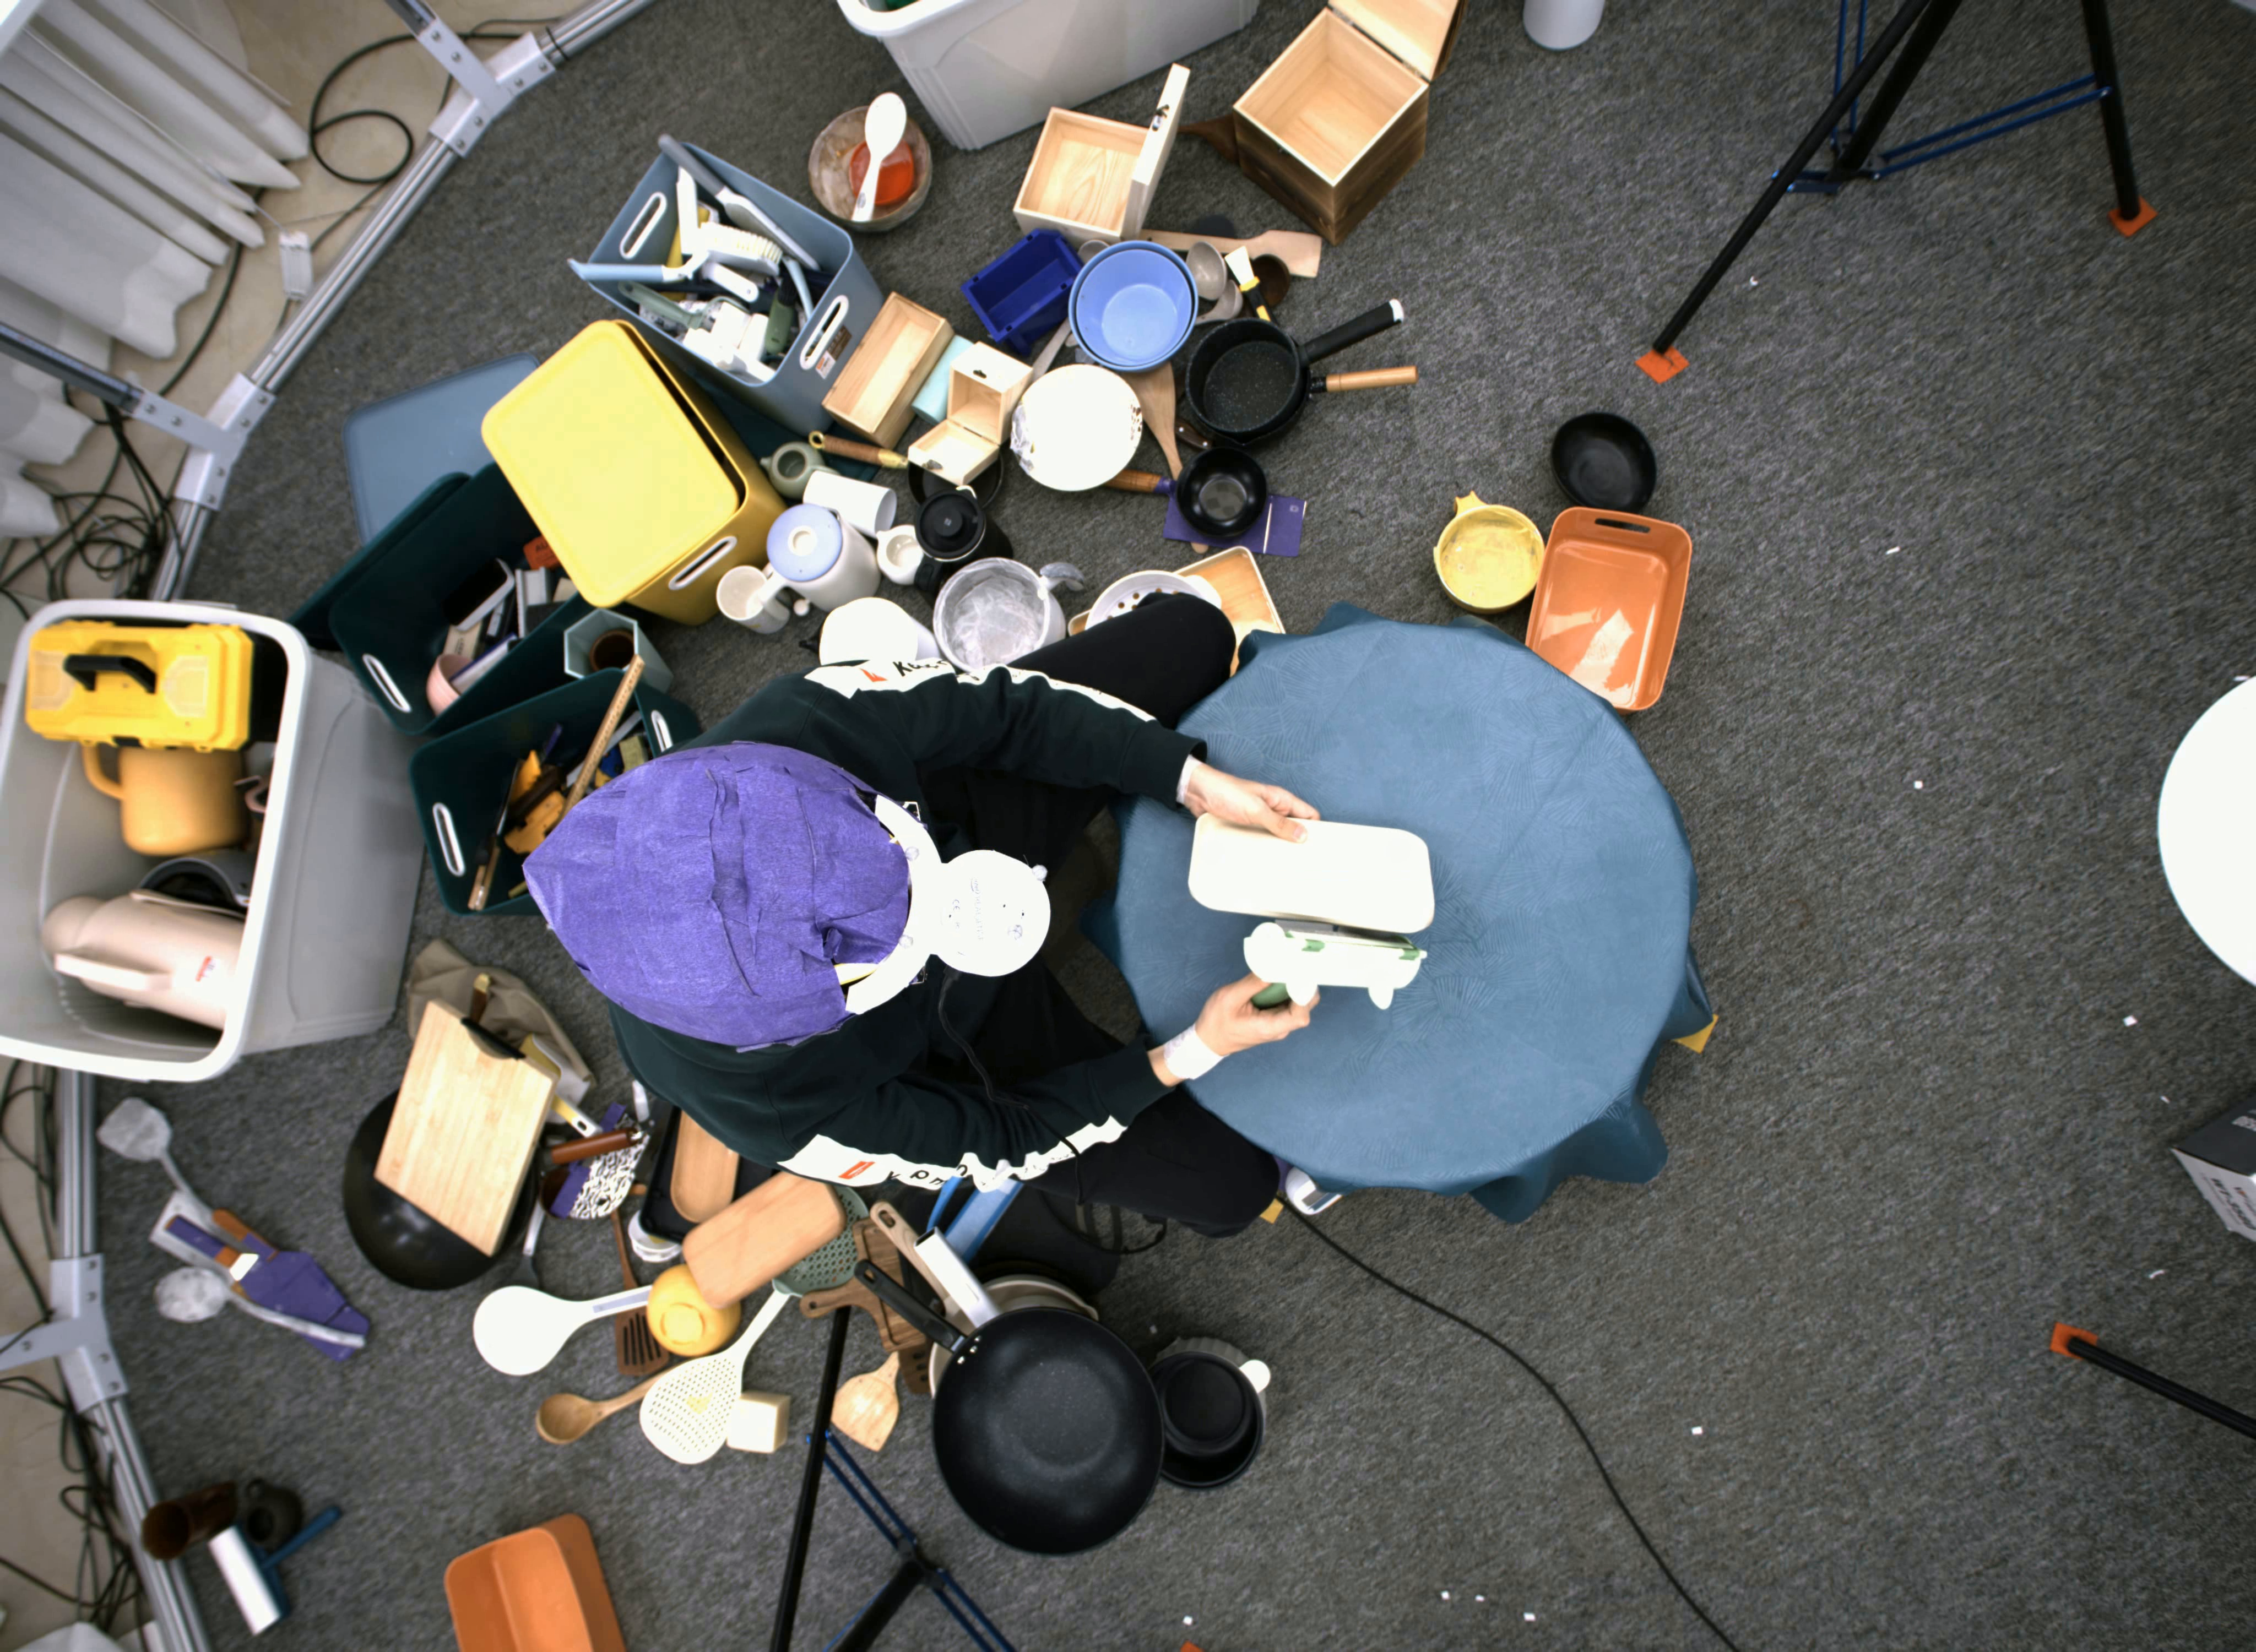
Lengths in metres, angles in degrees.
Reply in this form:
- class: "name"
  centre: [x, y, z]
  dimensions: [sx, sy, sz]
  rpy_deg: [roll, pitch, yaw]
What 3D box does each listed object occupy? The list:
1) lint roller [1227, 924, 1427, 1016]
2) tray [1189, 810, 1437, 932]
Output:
- class: "lint roller"
  centre: [0.166, 0.160, 1.336]
  dimensions: [0.187, 0.198, 0.080]
  rpy_deg: [-43, 54, 38]
- class: "tray"
  centre: [0.181, 0.044, 1.371]
  dimensions: [0.240, 0.167, 0.018]
  rpy_deg: [6, 123, 3]
